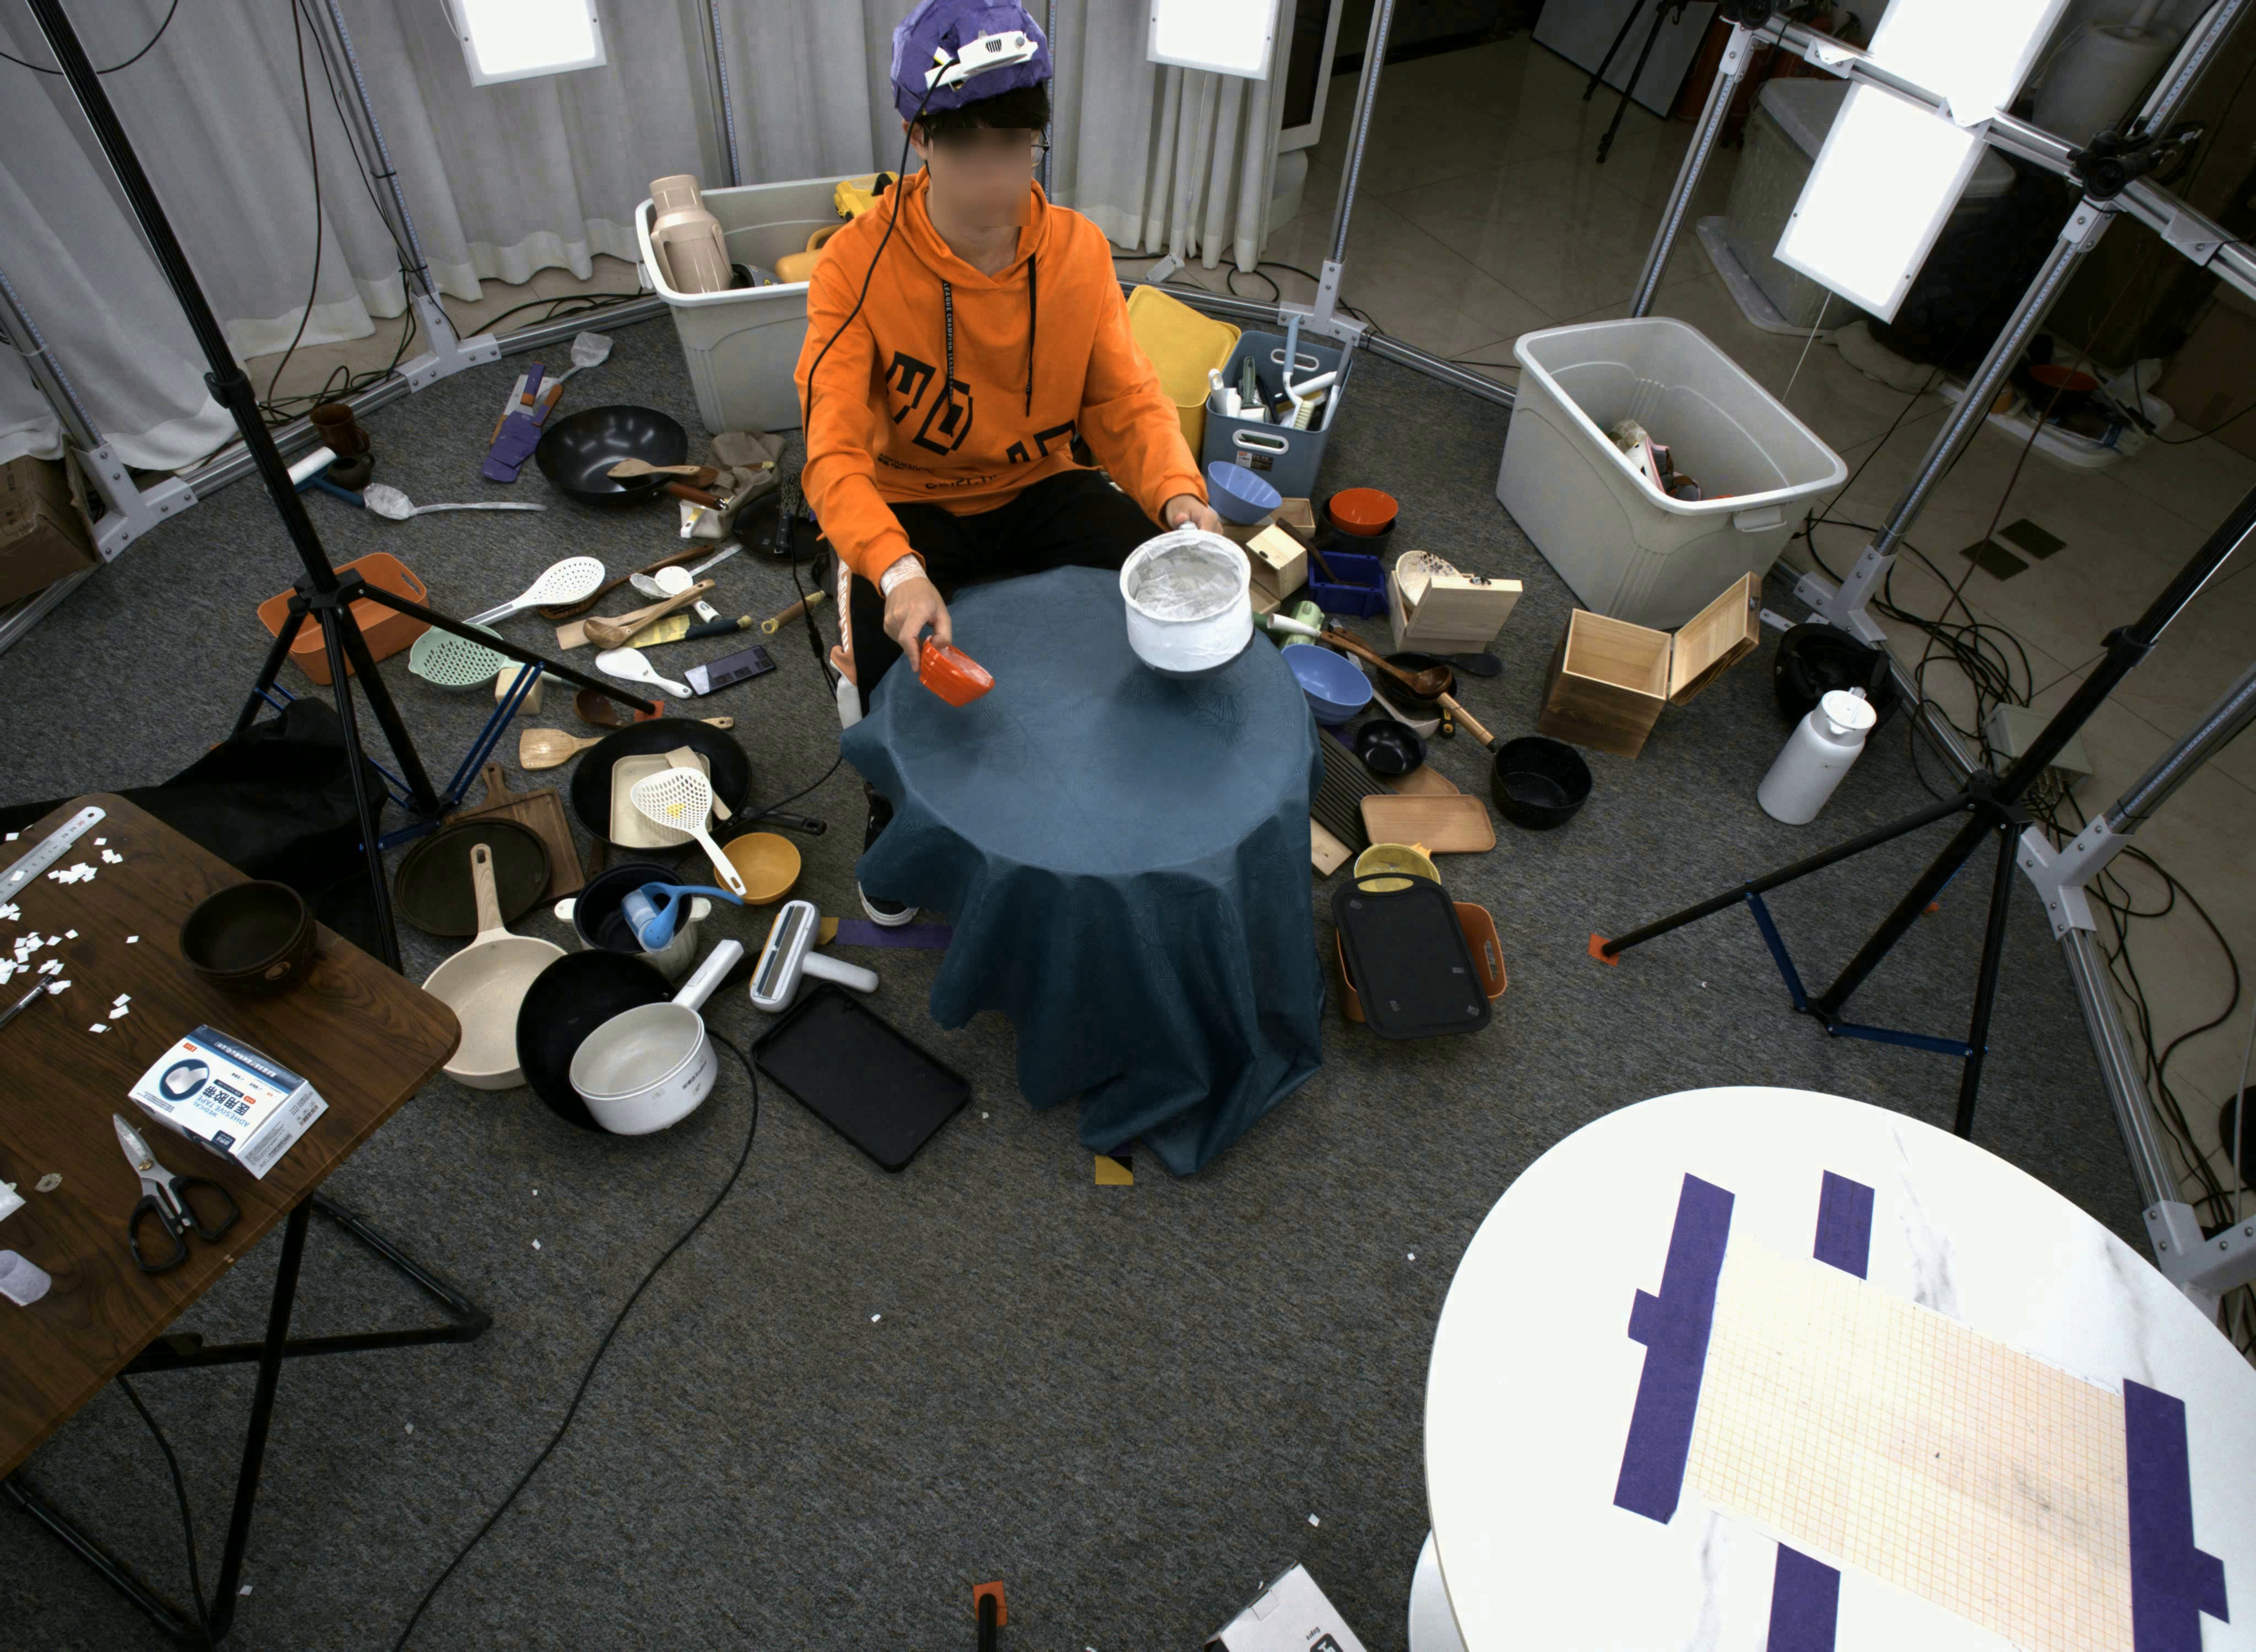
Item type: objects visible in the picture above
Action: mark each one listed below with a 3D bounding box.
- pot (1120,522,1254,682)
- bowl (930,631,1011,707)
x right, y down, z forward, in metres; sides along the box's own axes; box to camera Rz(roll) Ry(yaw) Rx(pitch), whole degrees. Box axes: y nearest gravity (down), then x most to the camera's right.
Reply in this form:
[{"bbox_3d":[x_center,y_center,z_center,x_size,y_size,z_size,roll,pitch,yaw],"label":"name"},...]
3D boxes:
[{"bbox_3d":[0.084,-0.321,1.787,0.179,0.133,0.239,-2,53,6],"label":"pot"},{"bbox_3d":[-0.216,-0.201,1.703,0.117,0.051,0.122,39,26,-24],"label":"bowl"}]
